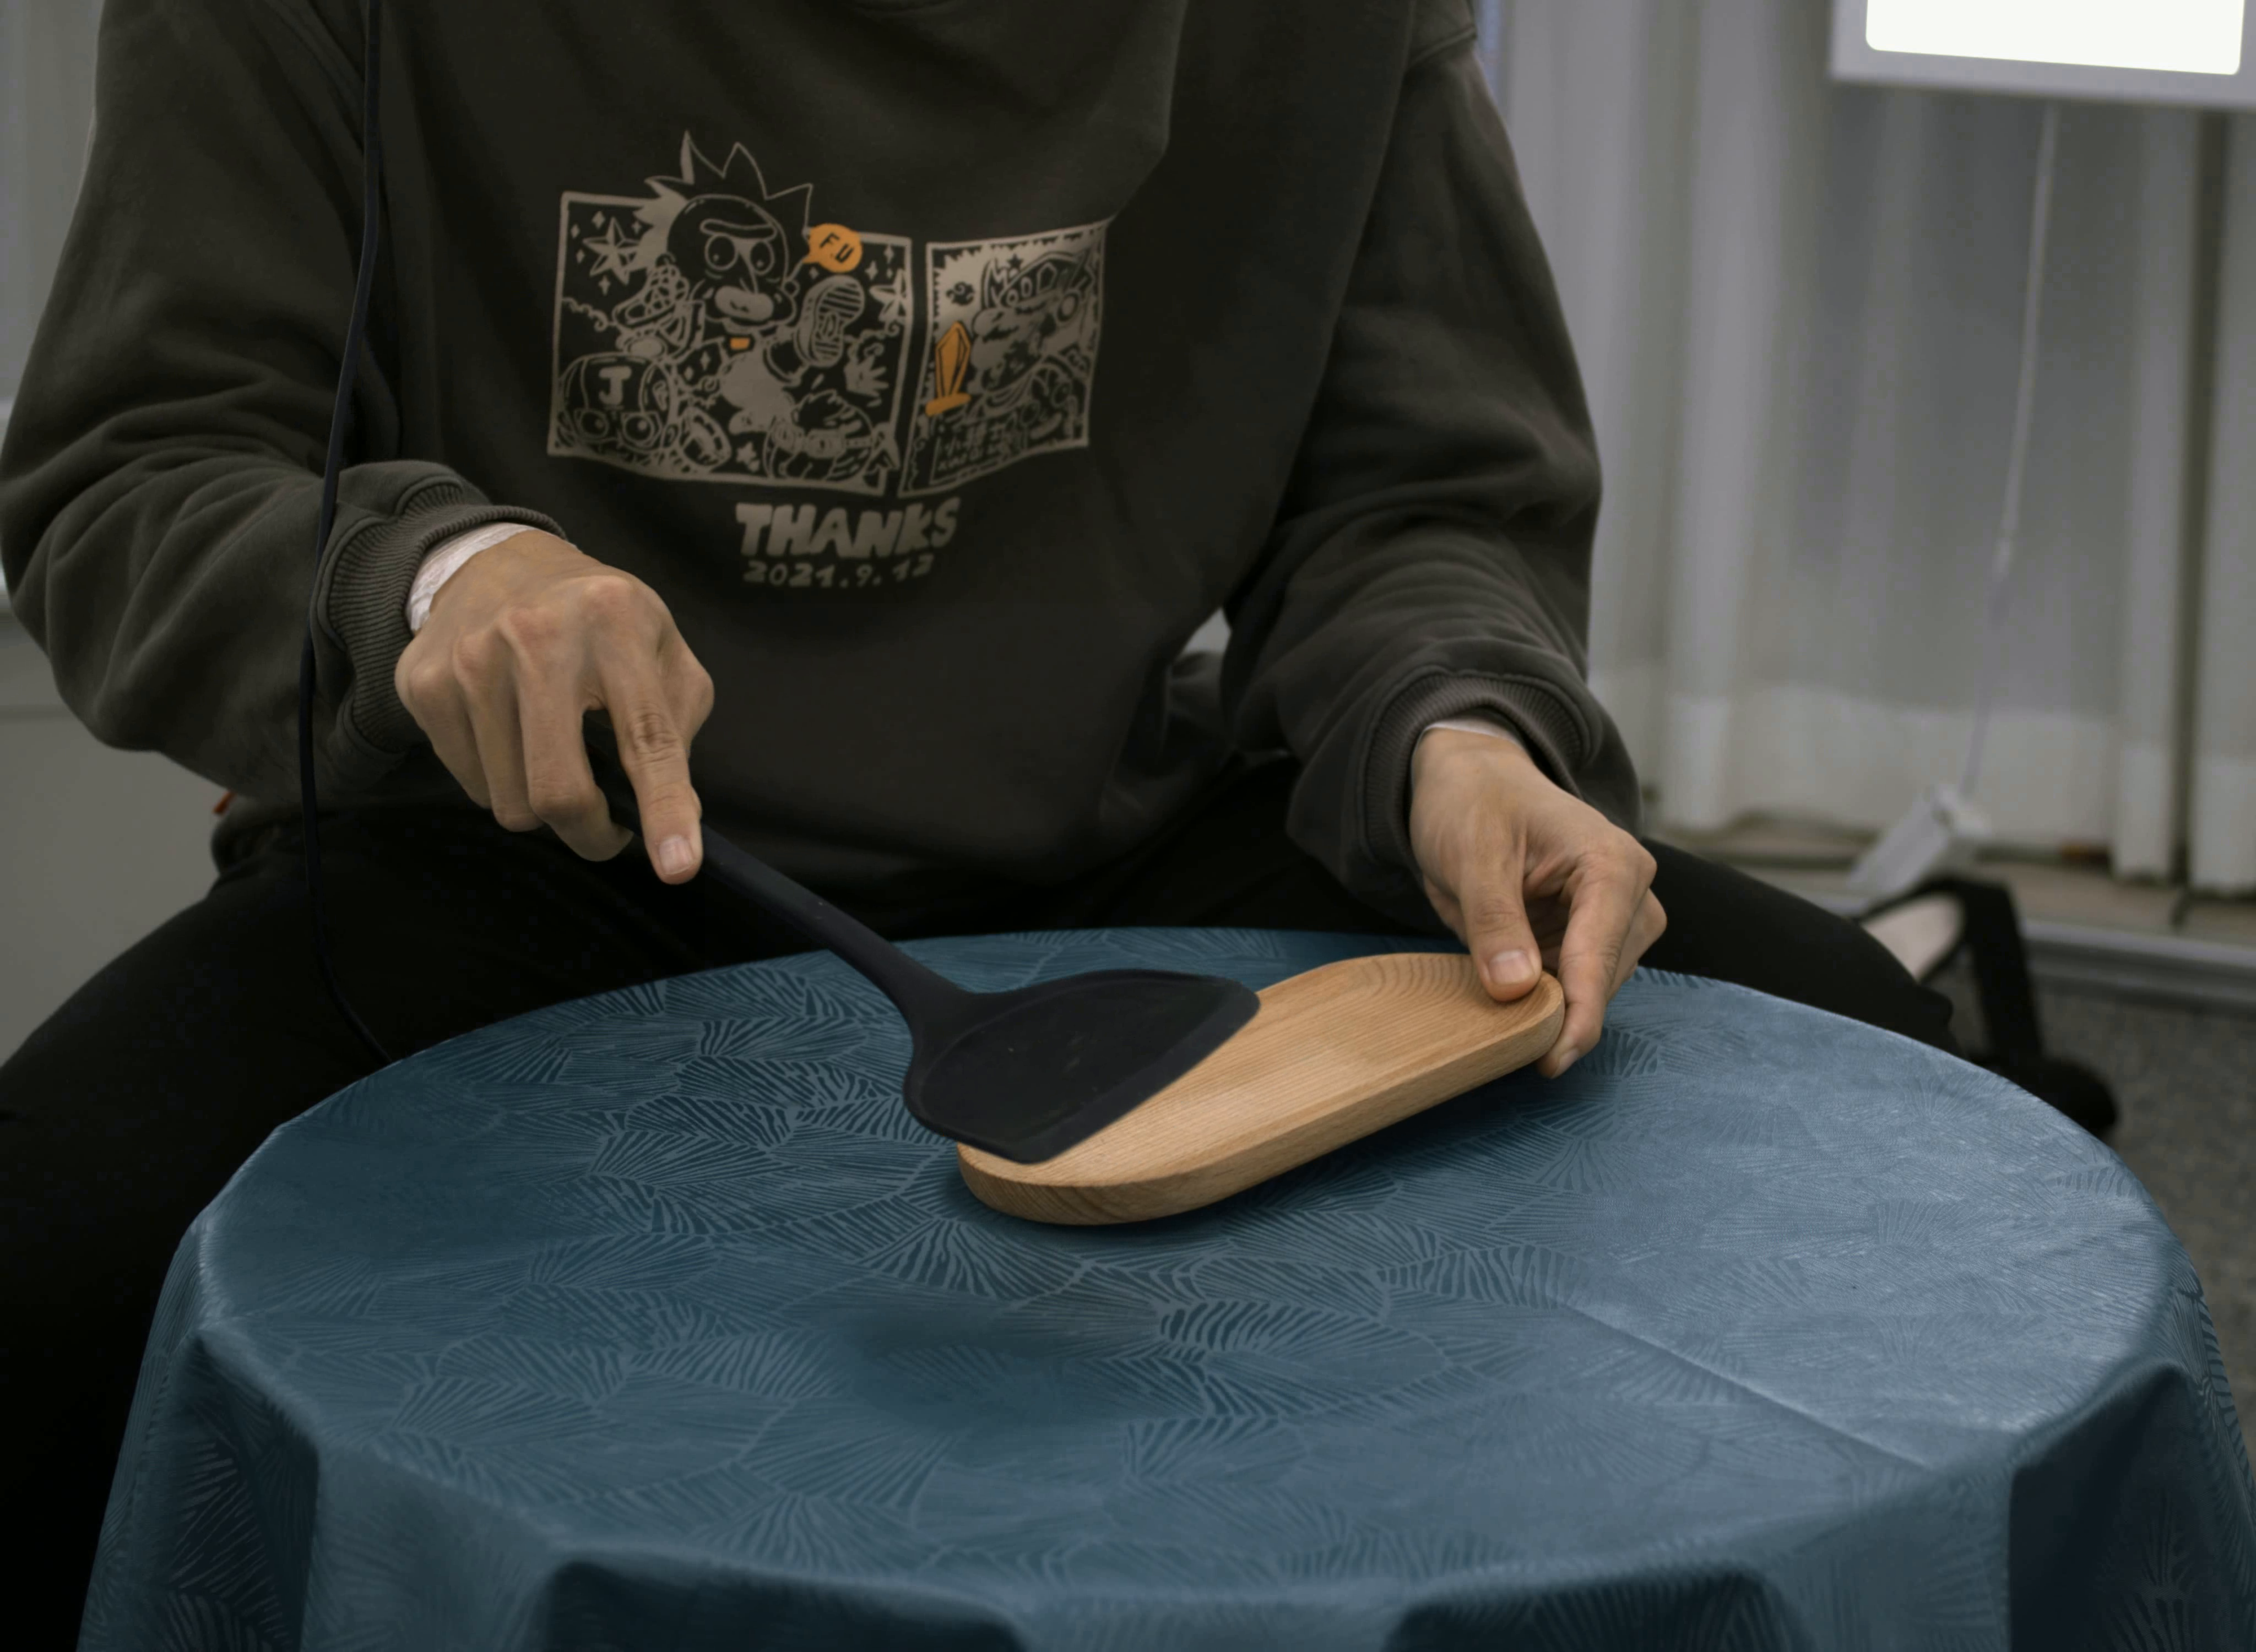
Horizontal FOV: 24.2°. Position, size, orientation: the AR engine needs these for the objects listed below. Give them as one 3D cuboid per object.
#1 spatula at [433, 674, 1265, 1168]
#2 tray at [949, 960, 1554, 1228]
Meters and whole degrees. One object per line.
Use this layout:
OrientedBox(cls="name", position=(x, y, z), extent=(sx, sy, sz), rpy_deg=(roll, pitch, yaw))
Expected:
OrientedBox(cls="spatula", position=(-0.103, 0.016, 1.577), extent=(0.322, 0.041, 0.100), rpy_deg=(32, 49, 32))
OrientedBox(cls="tray", position=(0.042, 0.084, 1.674), extent=(0.232, 0.020, 0.100), rpy_deg=(-21, 23, -40))
